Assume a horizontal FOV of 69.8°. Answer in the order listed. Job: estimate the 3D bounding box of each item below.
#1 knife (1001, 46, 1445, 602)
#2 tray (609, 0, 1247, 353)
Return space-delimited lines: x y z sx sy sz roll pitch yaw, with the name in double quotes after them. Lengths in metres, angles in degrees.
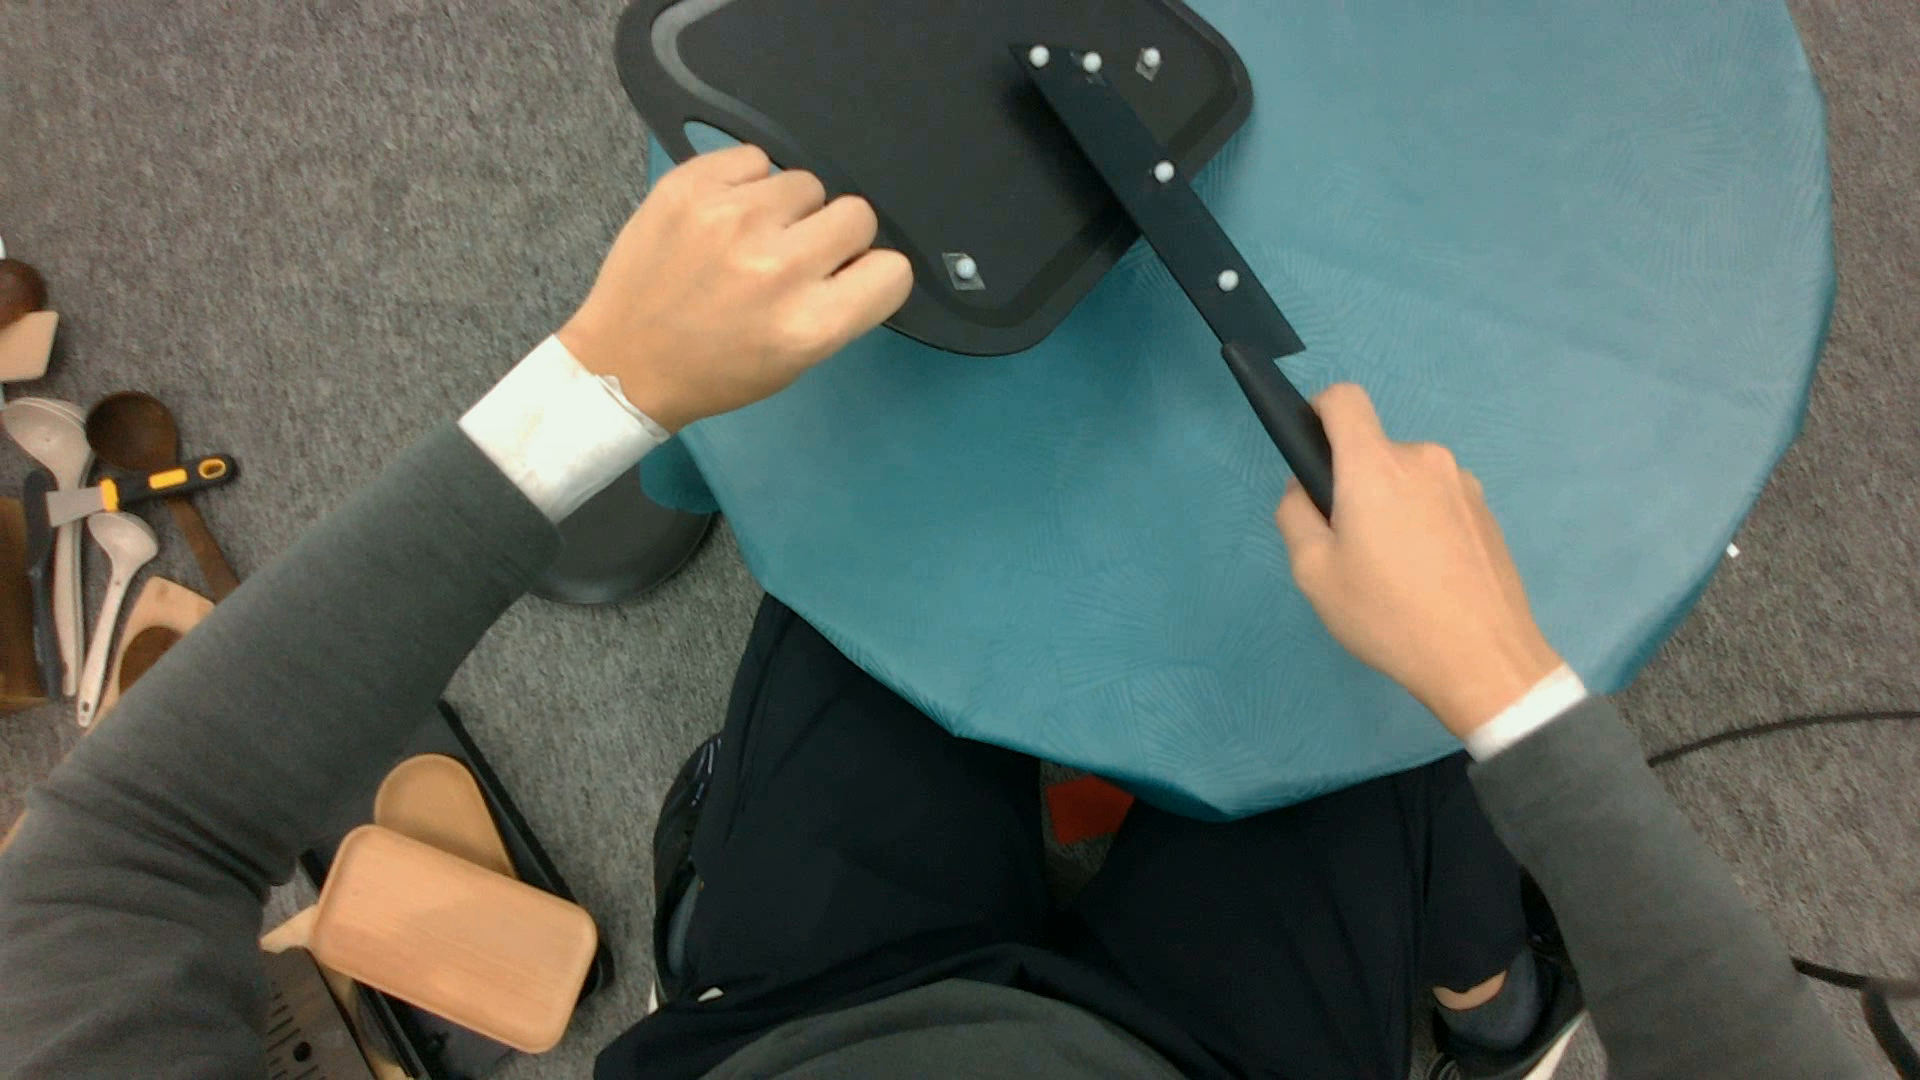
0.113 -0.102 0.595 0.021 0.081 0.303 -43 70 37 "knife"
0.001 -0.205 0.619 0.211 0.010 0.327 39 49 3 "tray"
